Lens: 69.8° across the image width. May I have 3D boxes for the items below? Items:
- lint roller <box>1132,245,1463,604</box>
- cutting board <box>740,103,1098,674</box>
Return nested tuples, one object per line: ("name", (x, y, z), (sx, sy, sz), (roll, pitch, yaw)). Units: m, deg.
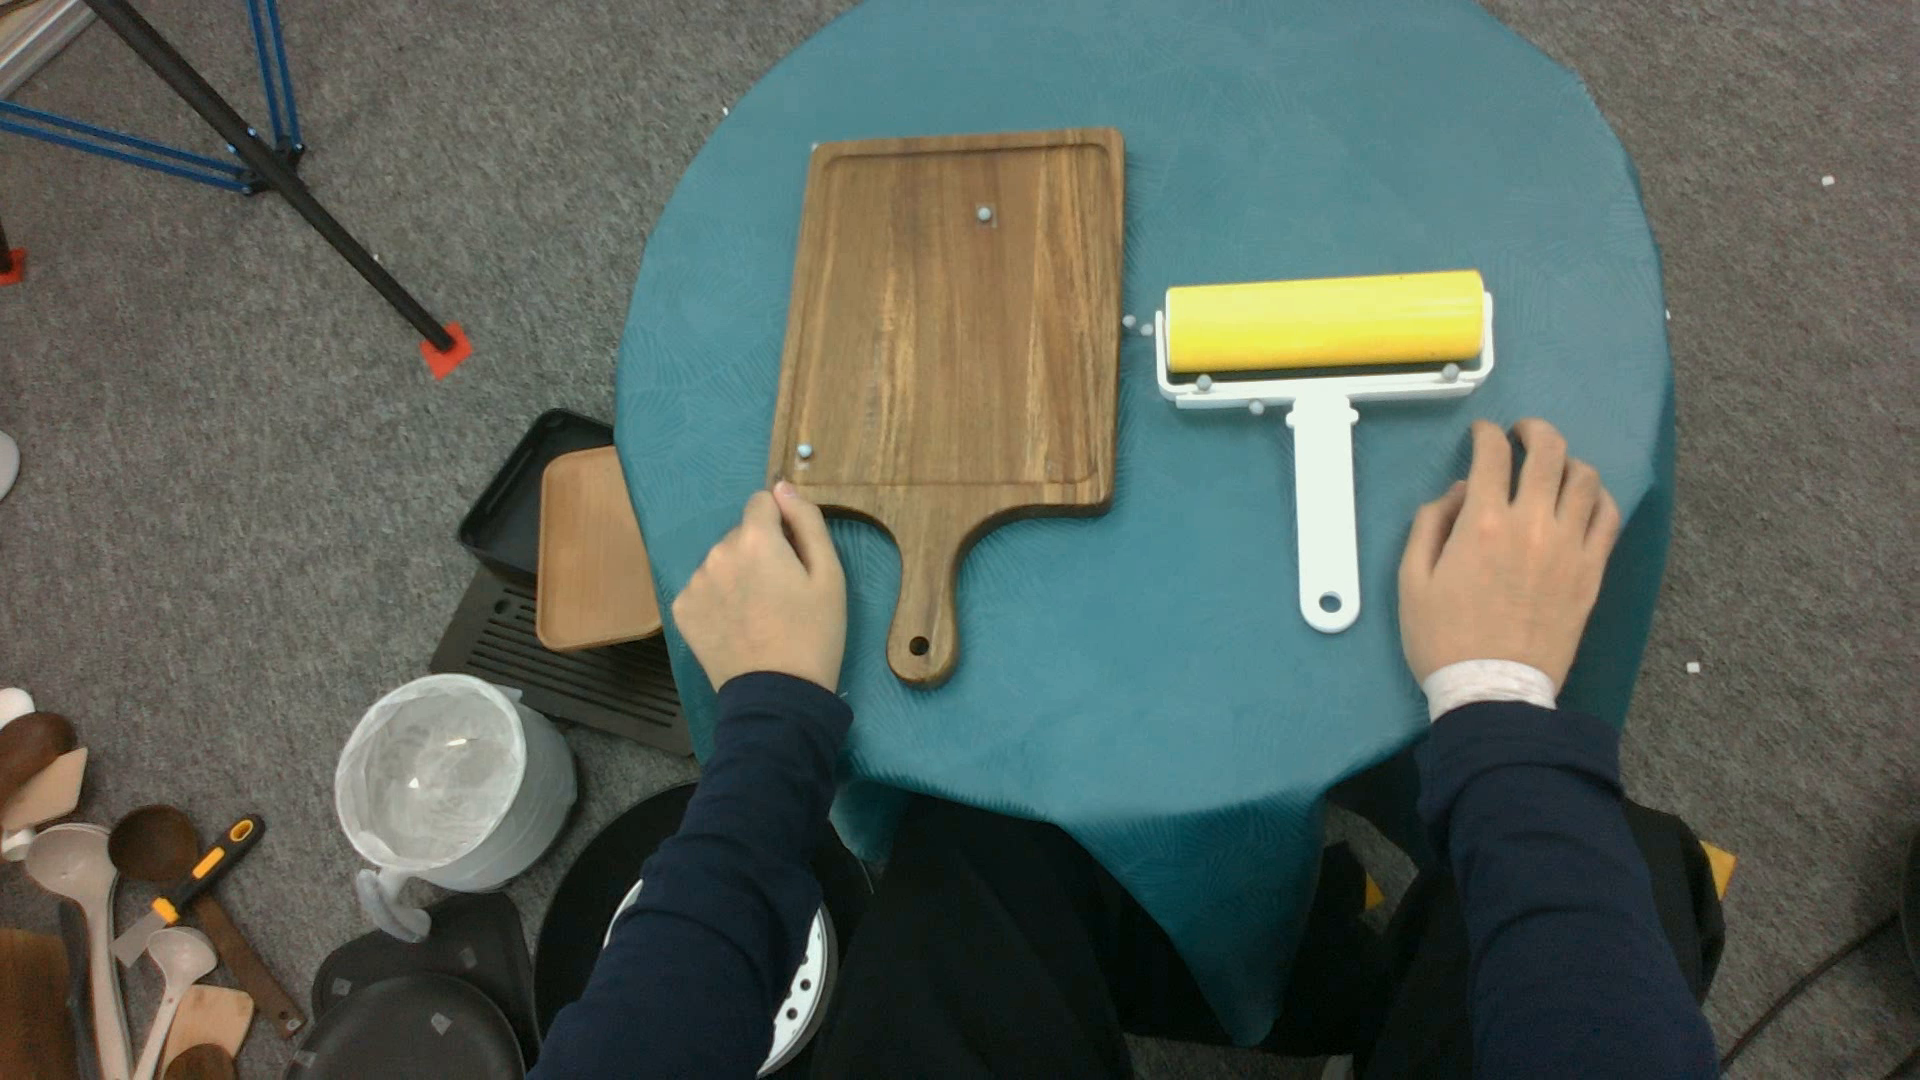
("lint roller", (0.181, -0.064, 0.722), (0.174, 0.051, 0.192), (-3, 65, 9))
("cutting board", (-0.022, -0.096, 0.783), (0.201, 0.023, 0.353), (0, 68, 9))
